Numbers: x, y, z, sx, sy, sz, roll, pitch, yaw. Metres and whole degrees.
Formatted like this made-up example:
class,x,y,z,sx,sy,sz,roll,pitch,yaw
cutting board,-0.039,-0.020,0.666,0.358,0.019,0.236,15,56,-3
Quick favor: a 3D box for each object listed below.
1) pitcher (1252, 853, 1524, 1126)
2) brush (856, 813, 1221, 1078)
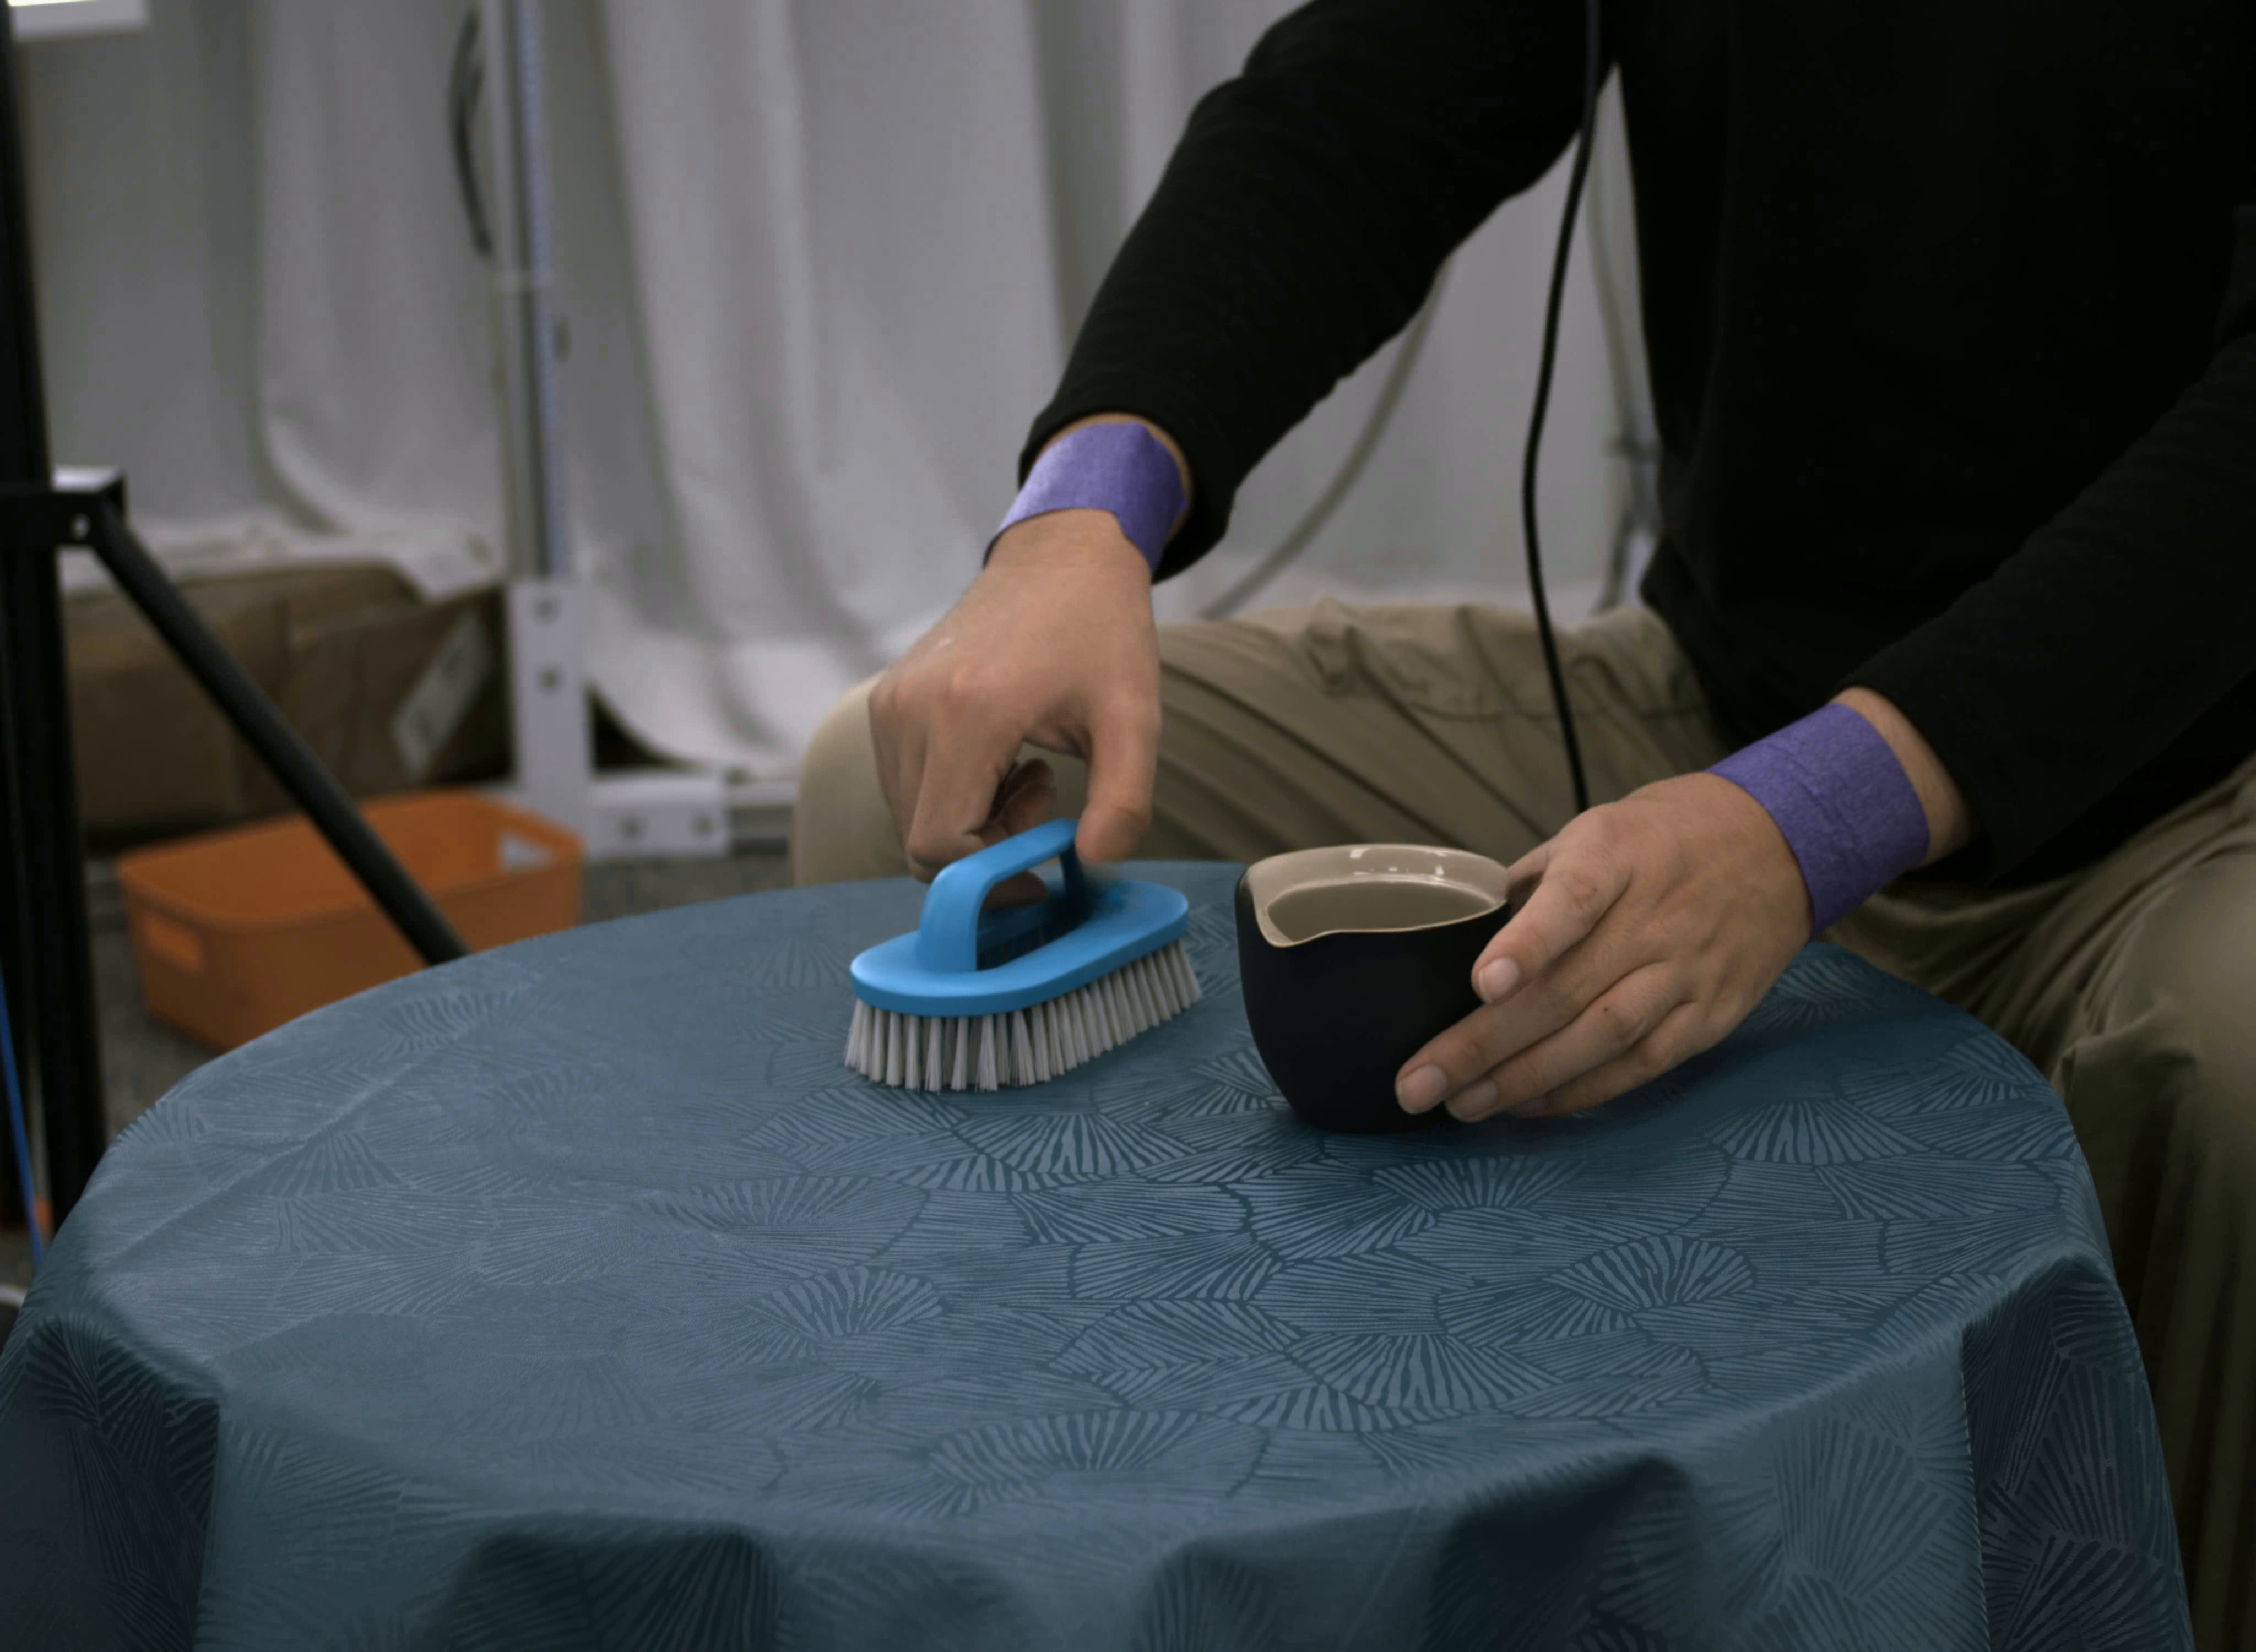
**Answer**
class,x,y,z,sx,sy,sz,roll,pitch,yaw
pitcher,0.076,0.051,1.610,0.085,0.071,0.094,12,22,38
brush,-0.031,0.033,1.707,0.086,0.064,0.139,4,15,36
